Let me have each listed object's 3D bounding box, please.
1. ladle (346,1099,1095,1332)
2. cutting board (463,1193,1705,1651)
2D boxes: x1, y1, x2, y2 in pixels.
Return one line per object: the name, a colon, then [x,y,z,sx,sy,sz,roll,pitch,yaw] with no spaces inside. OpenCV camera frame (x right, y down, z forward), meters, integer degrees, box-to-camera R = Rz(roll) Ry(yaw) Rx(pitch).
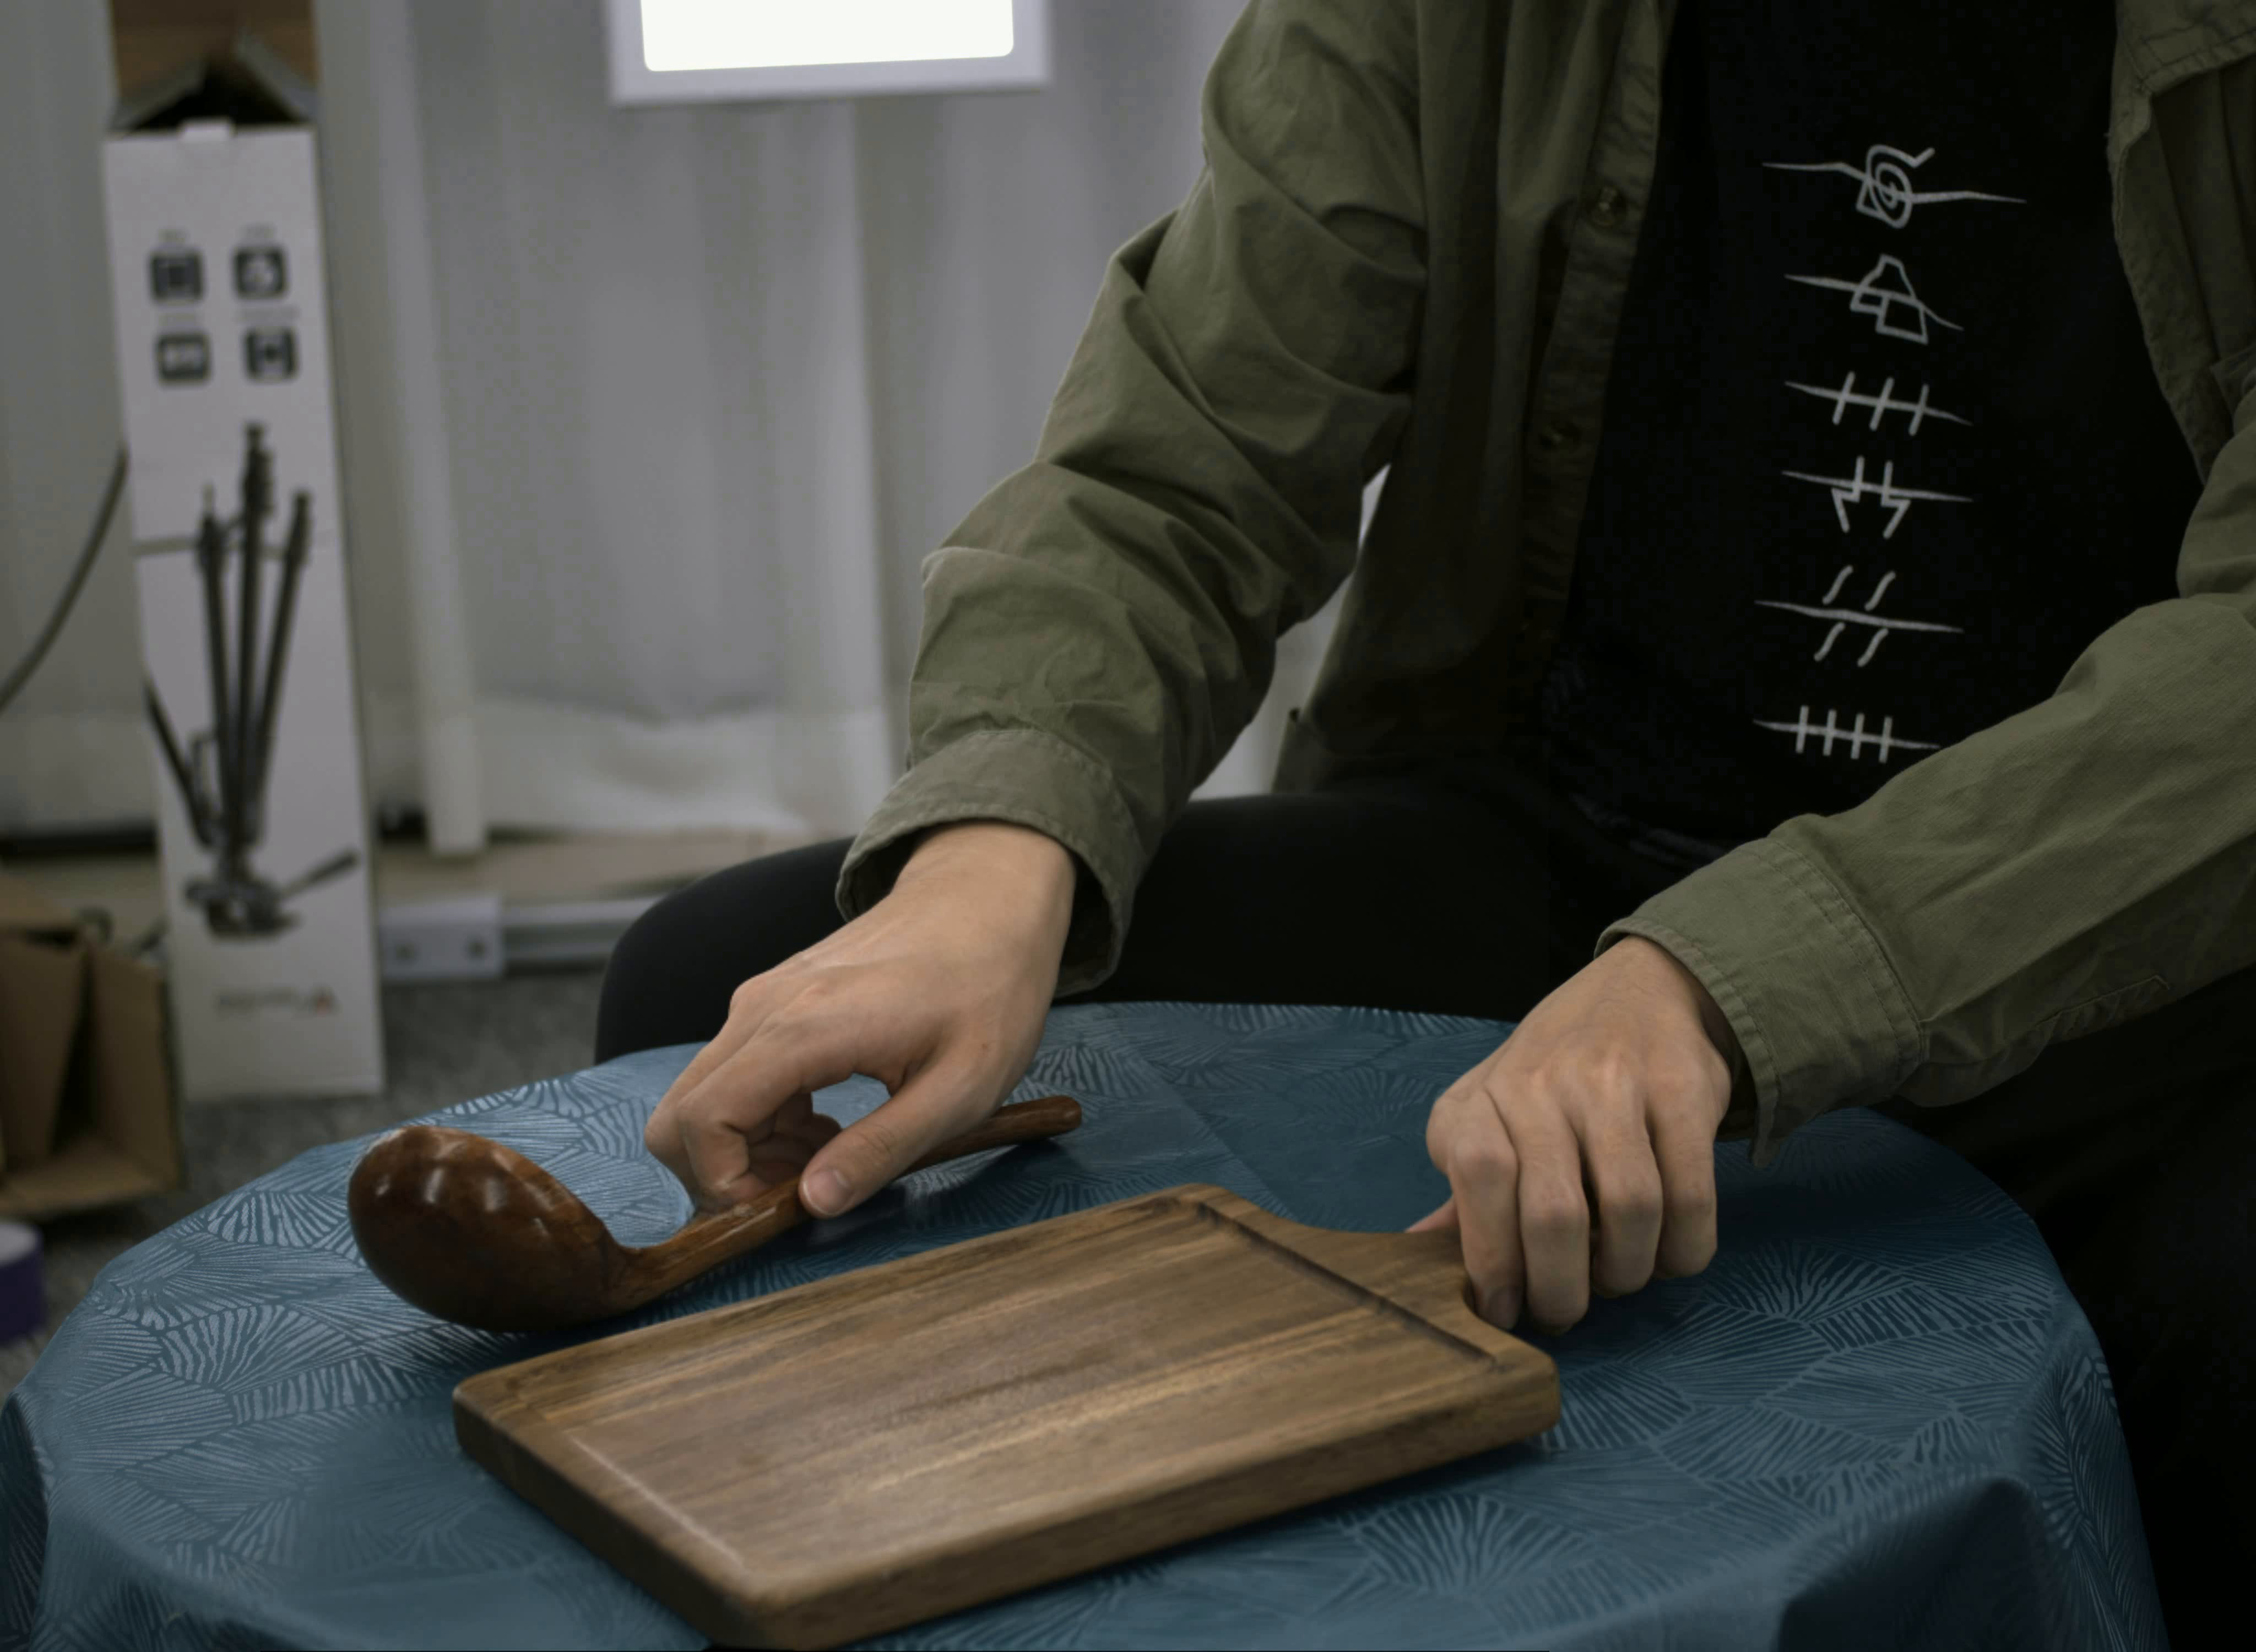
ladle: [-0.120,0.095,1.674,0.082,0.077,0.273,-16,2,45]
cutting board: [0.012,0.153,1.513,0.351,0.023,0.202,-13,18,-26]
